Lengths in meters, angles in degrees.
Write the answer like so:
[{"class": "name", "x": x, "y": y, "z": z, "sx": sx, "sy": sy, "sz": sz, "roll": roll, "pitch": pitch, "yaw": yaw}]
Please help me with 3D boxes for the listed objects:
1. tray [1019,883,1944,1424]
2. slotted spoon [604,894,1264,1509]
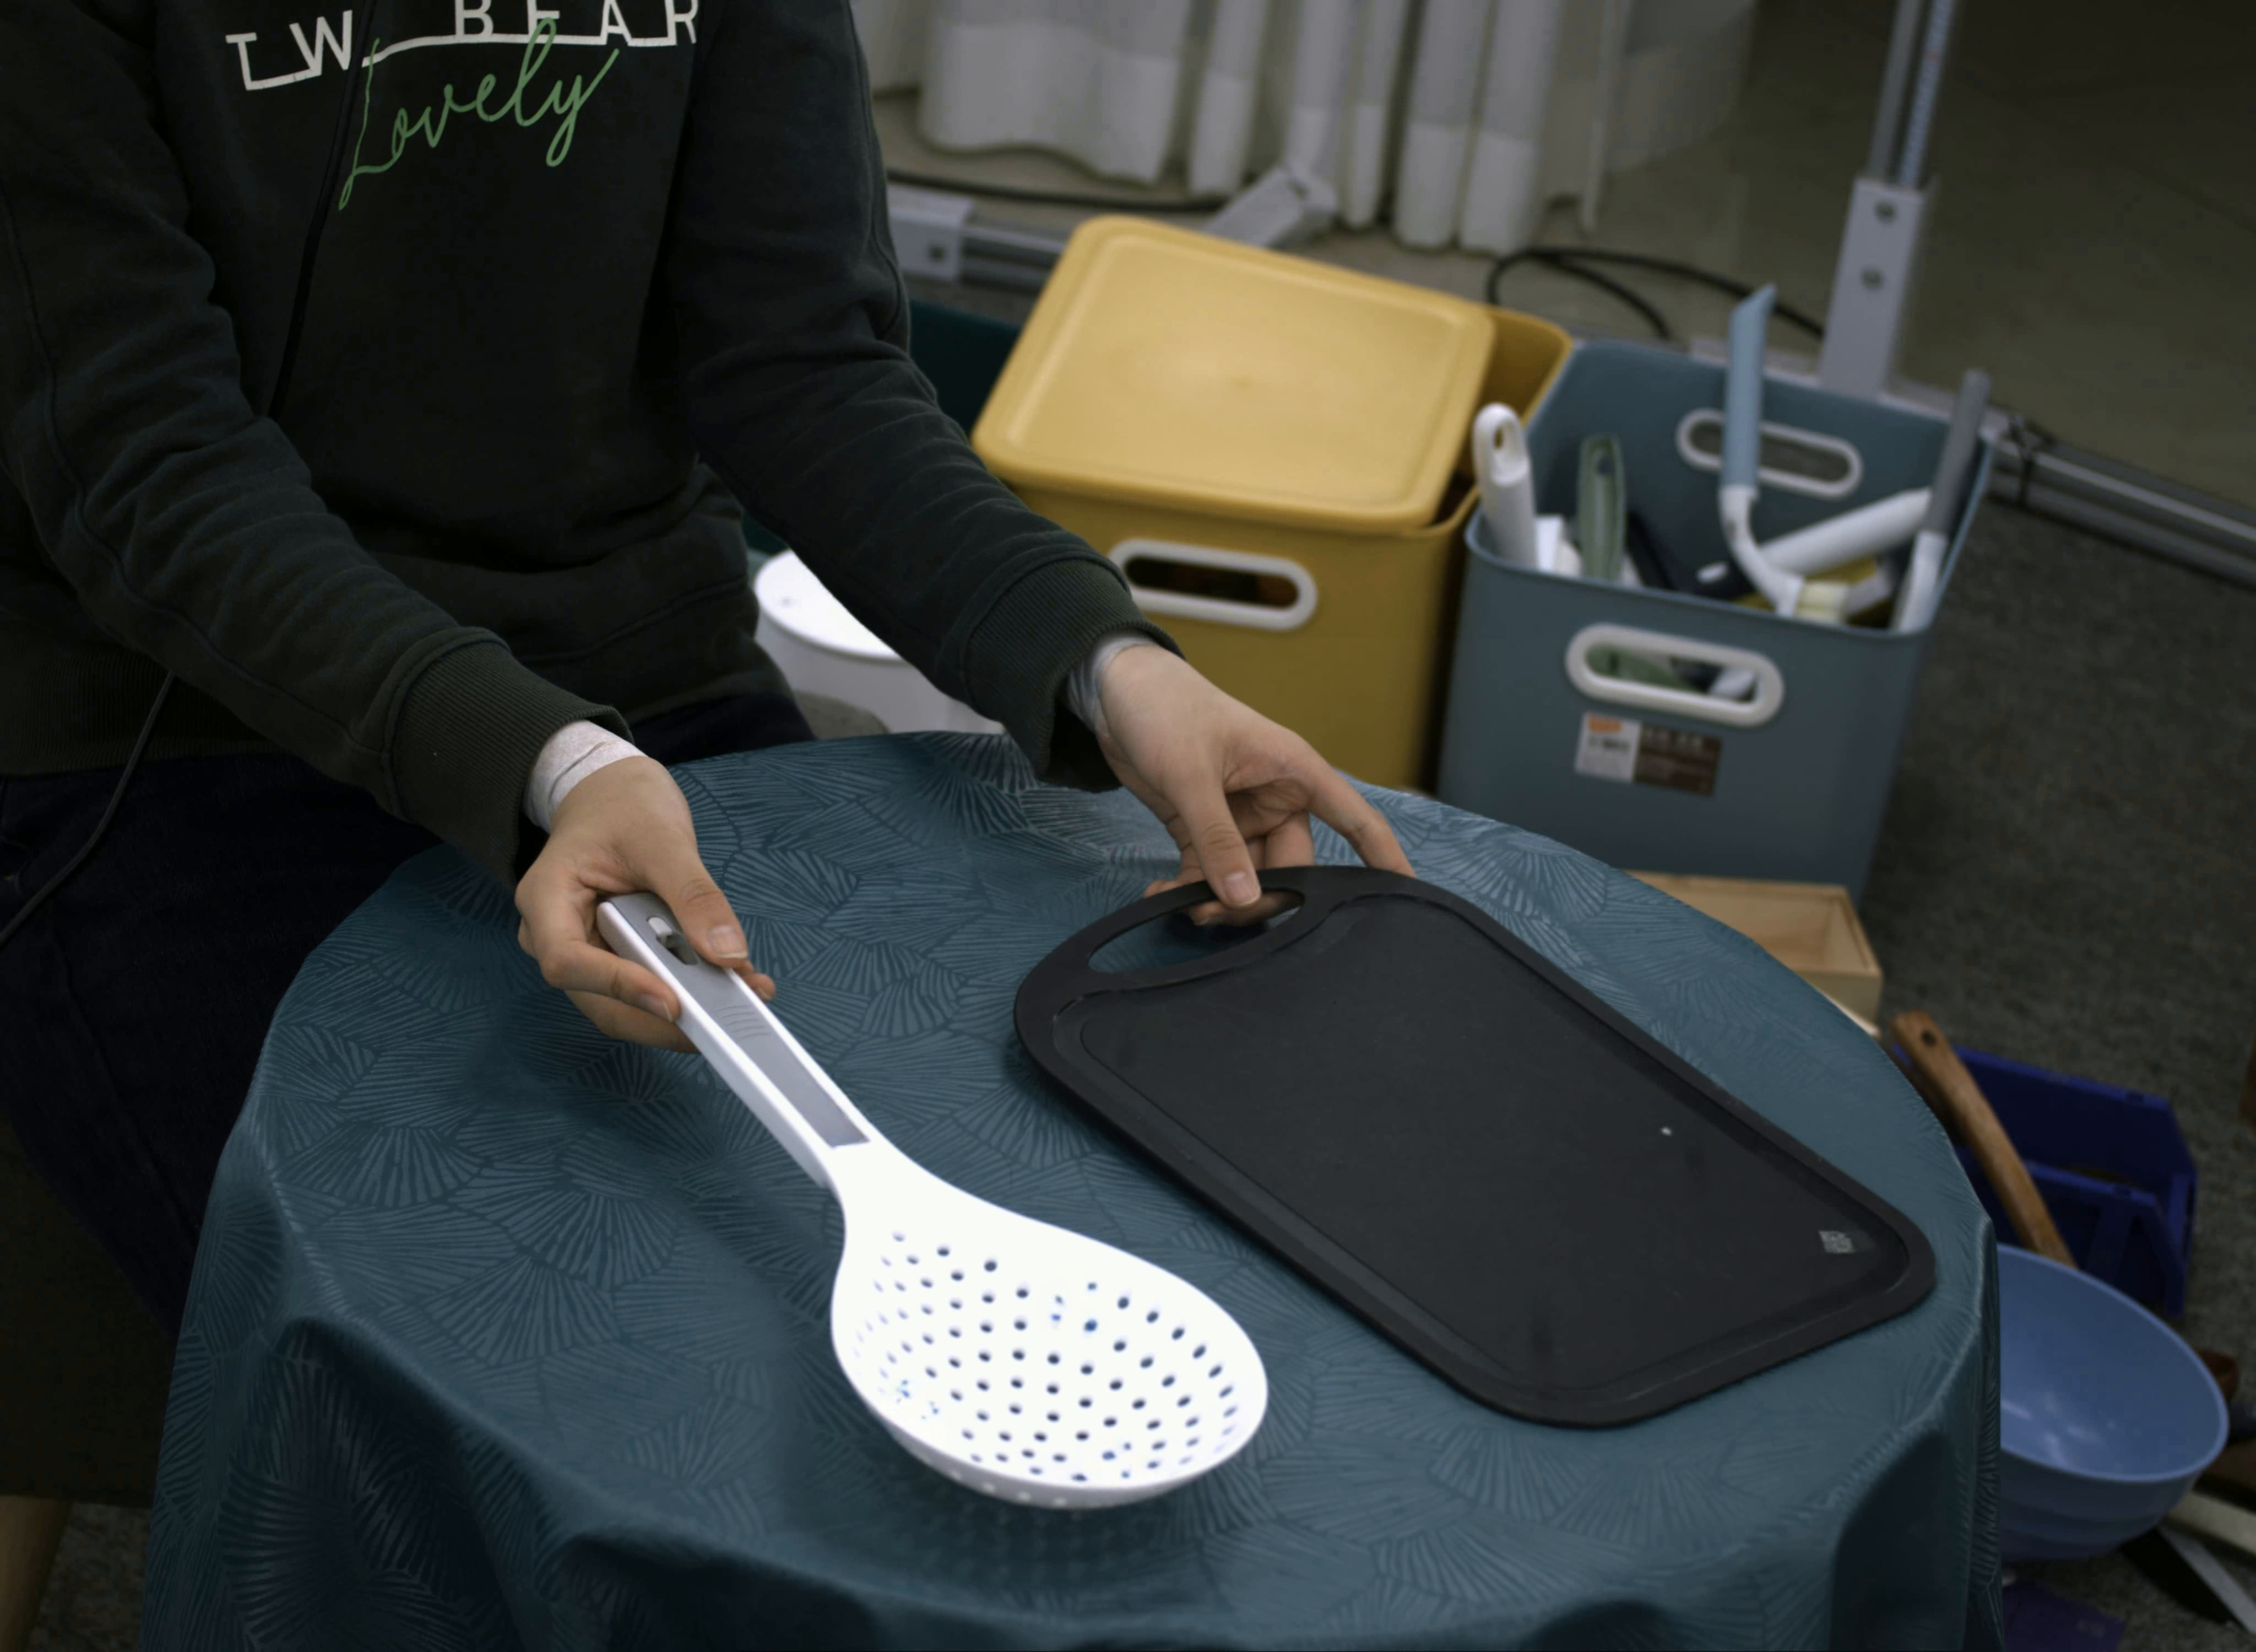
[{"class": "tray", "x": 0.113, "y": 0.103, "z": 1.844, "sx": 0.210, "sy": 0.010, "sz": 0.328, "roll": -16, "pitch": 37, "yaw": -37}, {"class": "slotted spoon", "x": -0.082, "y": 0.115, "z": 1.710, "sx": 0.135, "sy": 0.045, "sz": 0.353, "roll": -6, "pitch": 37, "yaw": -33}]
